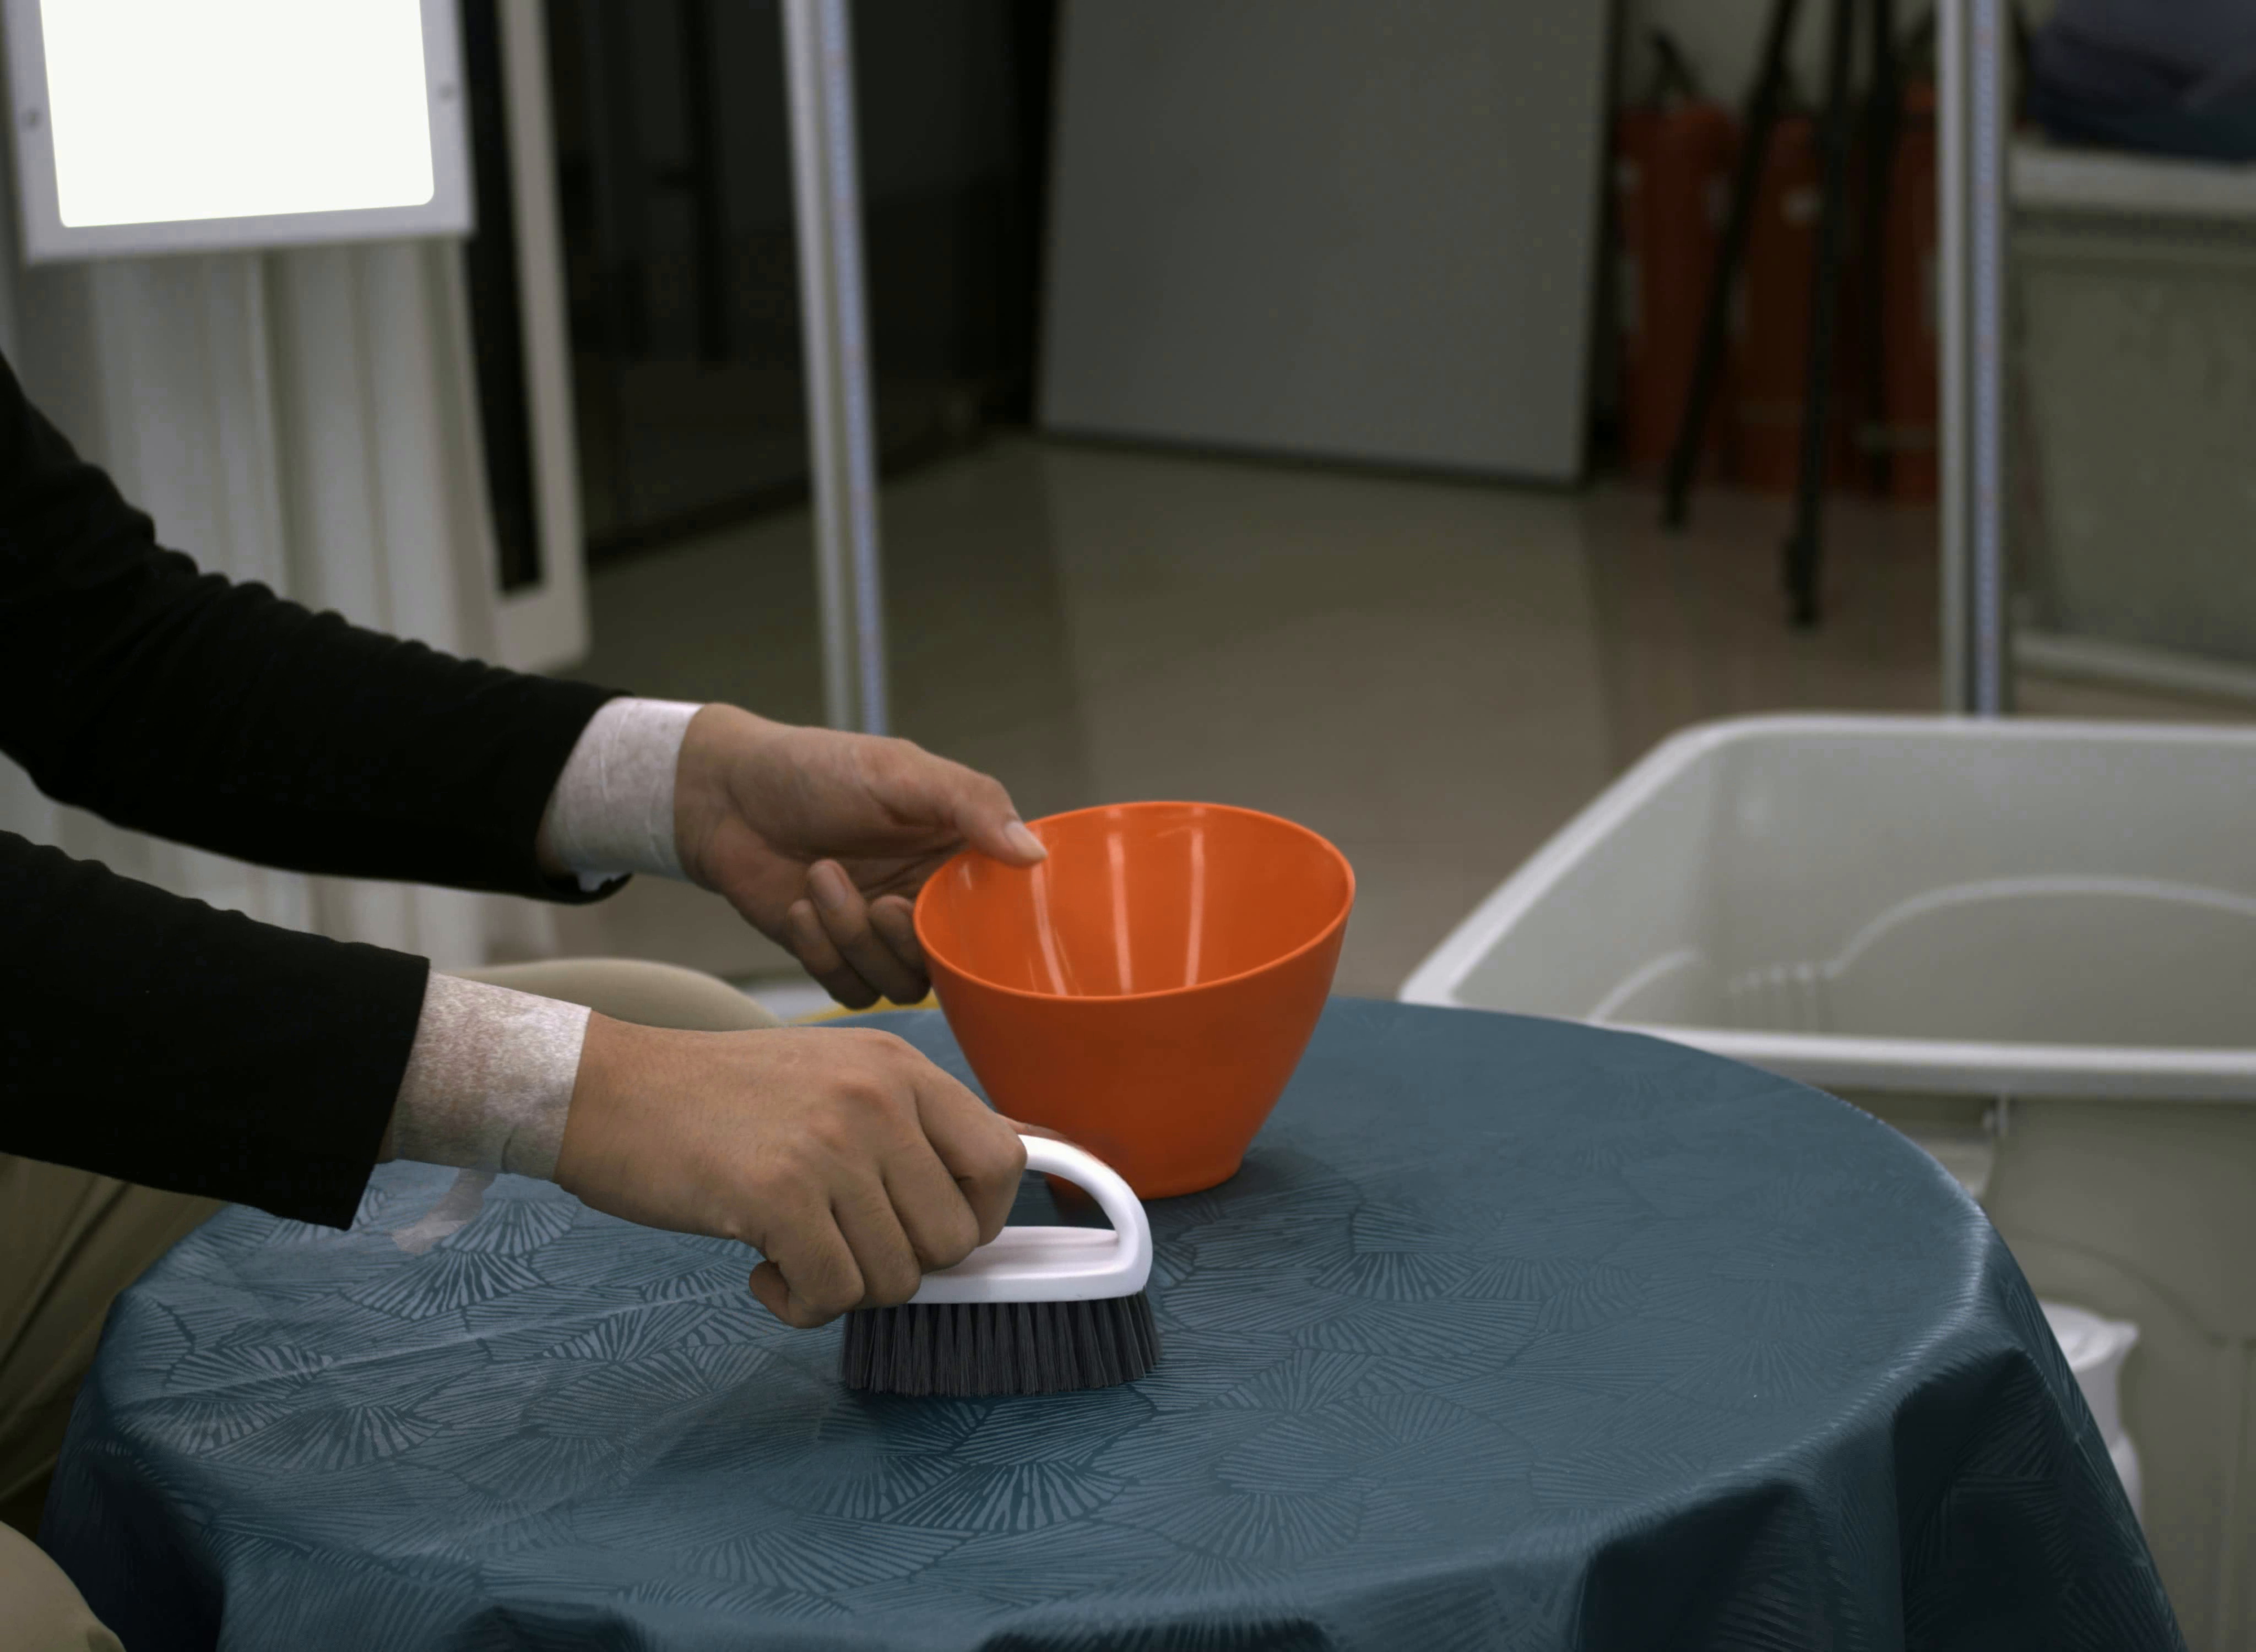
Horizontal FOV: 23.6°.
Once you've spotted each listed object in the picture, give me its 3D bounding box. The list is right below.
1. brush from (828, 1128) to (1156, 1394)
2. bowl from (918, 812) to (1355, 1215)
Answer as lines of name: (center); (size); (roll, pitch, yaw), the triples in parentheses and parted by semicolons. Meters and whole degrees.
brush: (-0.042, 0.126, 1.606); (0.098, 0.073, 0.050); (-1, 15, 12)
bowl: (0.006, 0.066, 1.788); (0.146, 0.106, 0.148); (-5, 15, 0)
